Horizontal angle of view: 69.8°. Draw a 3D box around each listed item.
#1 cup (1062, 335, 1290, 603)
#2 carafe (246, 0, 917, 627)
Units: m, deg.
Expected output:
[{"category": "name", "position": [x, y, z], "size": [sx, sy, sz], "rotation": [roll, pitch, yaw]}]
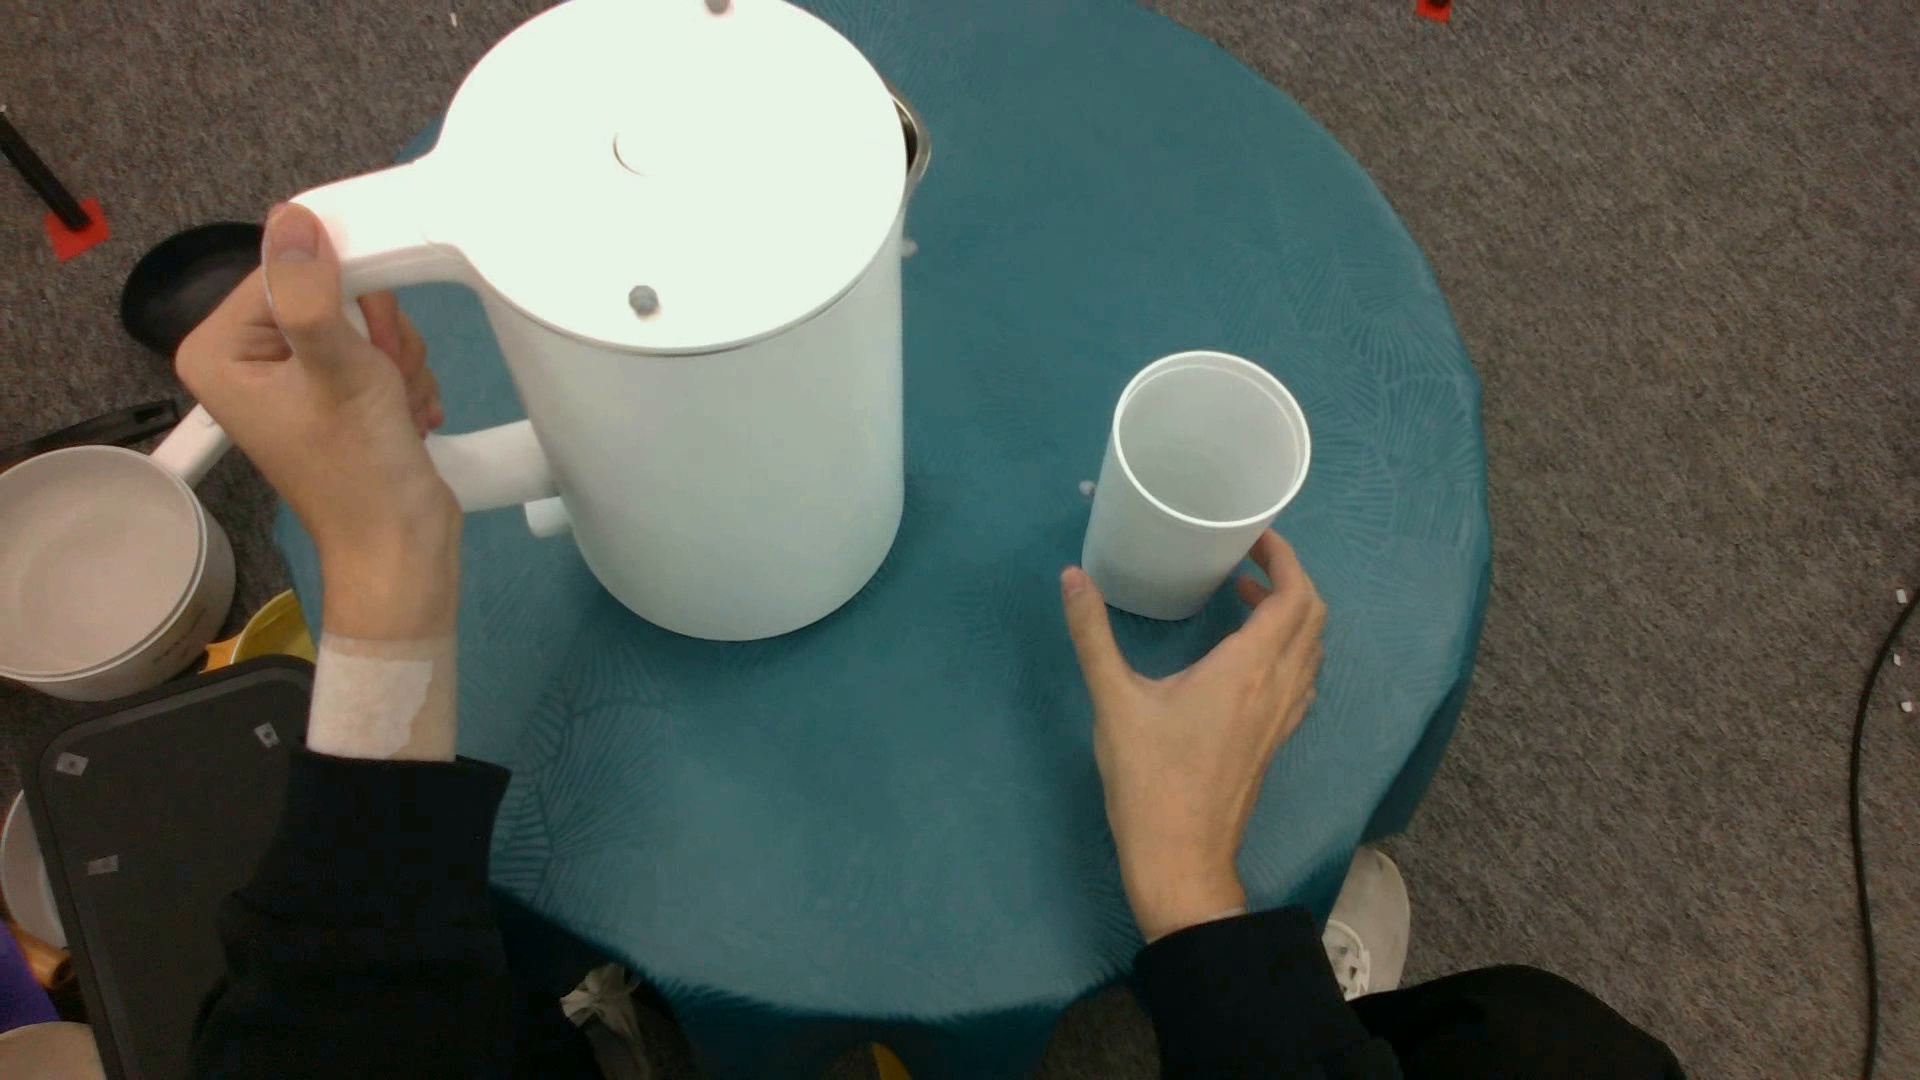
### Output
[{"category": "cup", "position": [0.089, -0.026, 0.616], "size": [0.082, 0.125, 0.082], "rotation": [2, 67, -5]}, {"category": "carafe", "position": [-0.127, -0.073, 0.525], "size": [0.213, 0.239, 0.152], "rotation": [-13, 66, -12]}]
